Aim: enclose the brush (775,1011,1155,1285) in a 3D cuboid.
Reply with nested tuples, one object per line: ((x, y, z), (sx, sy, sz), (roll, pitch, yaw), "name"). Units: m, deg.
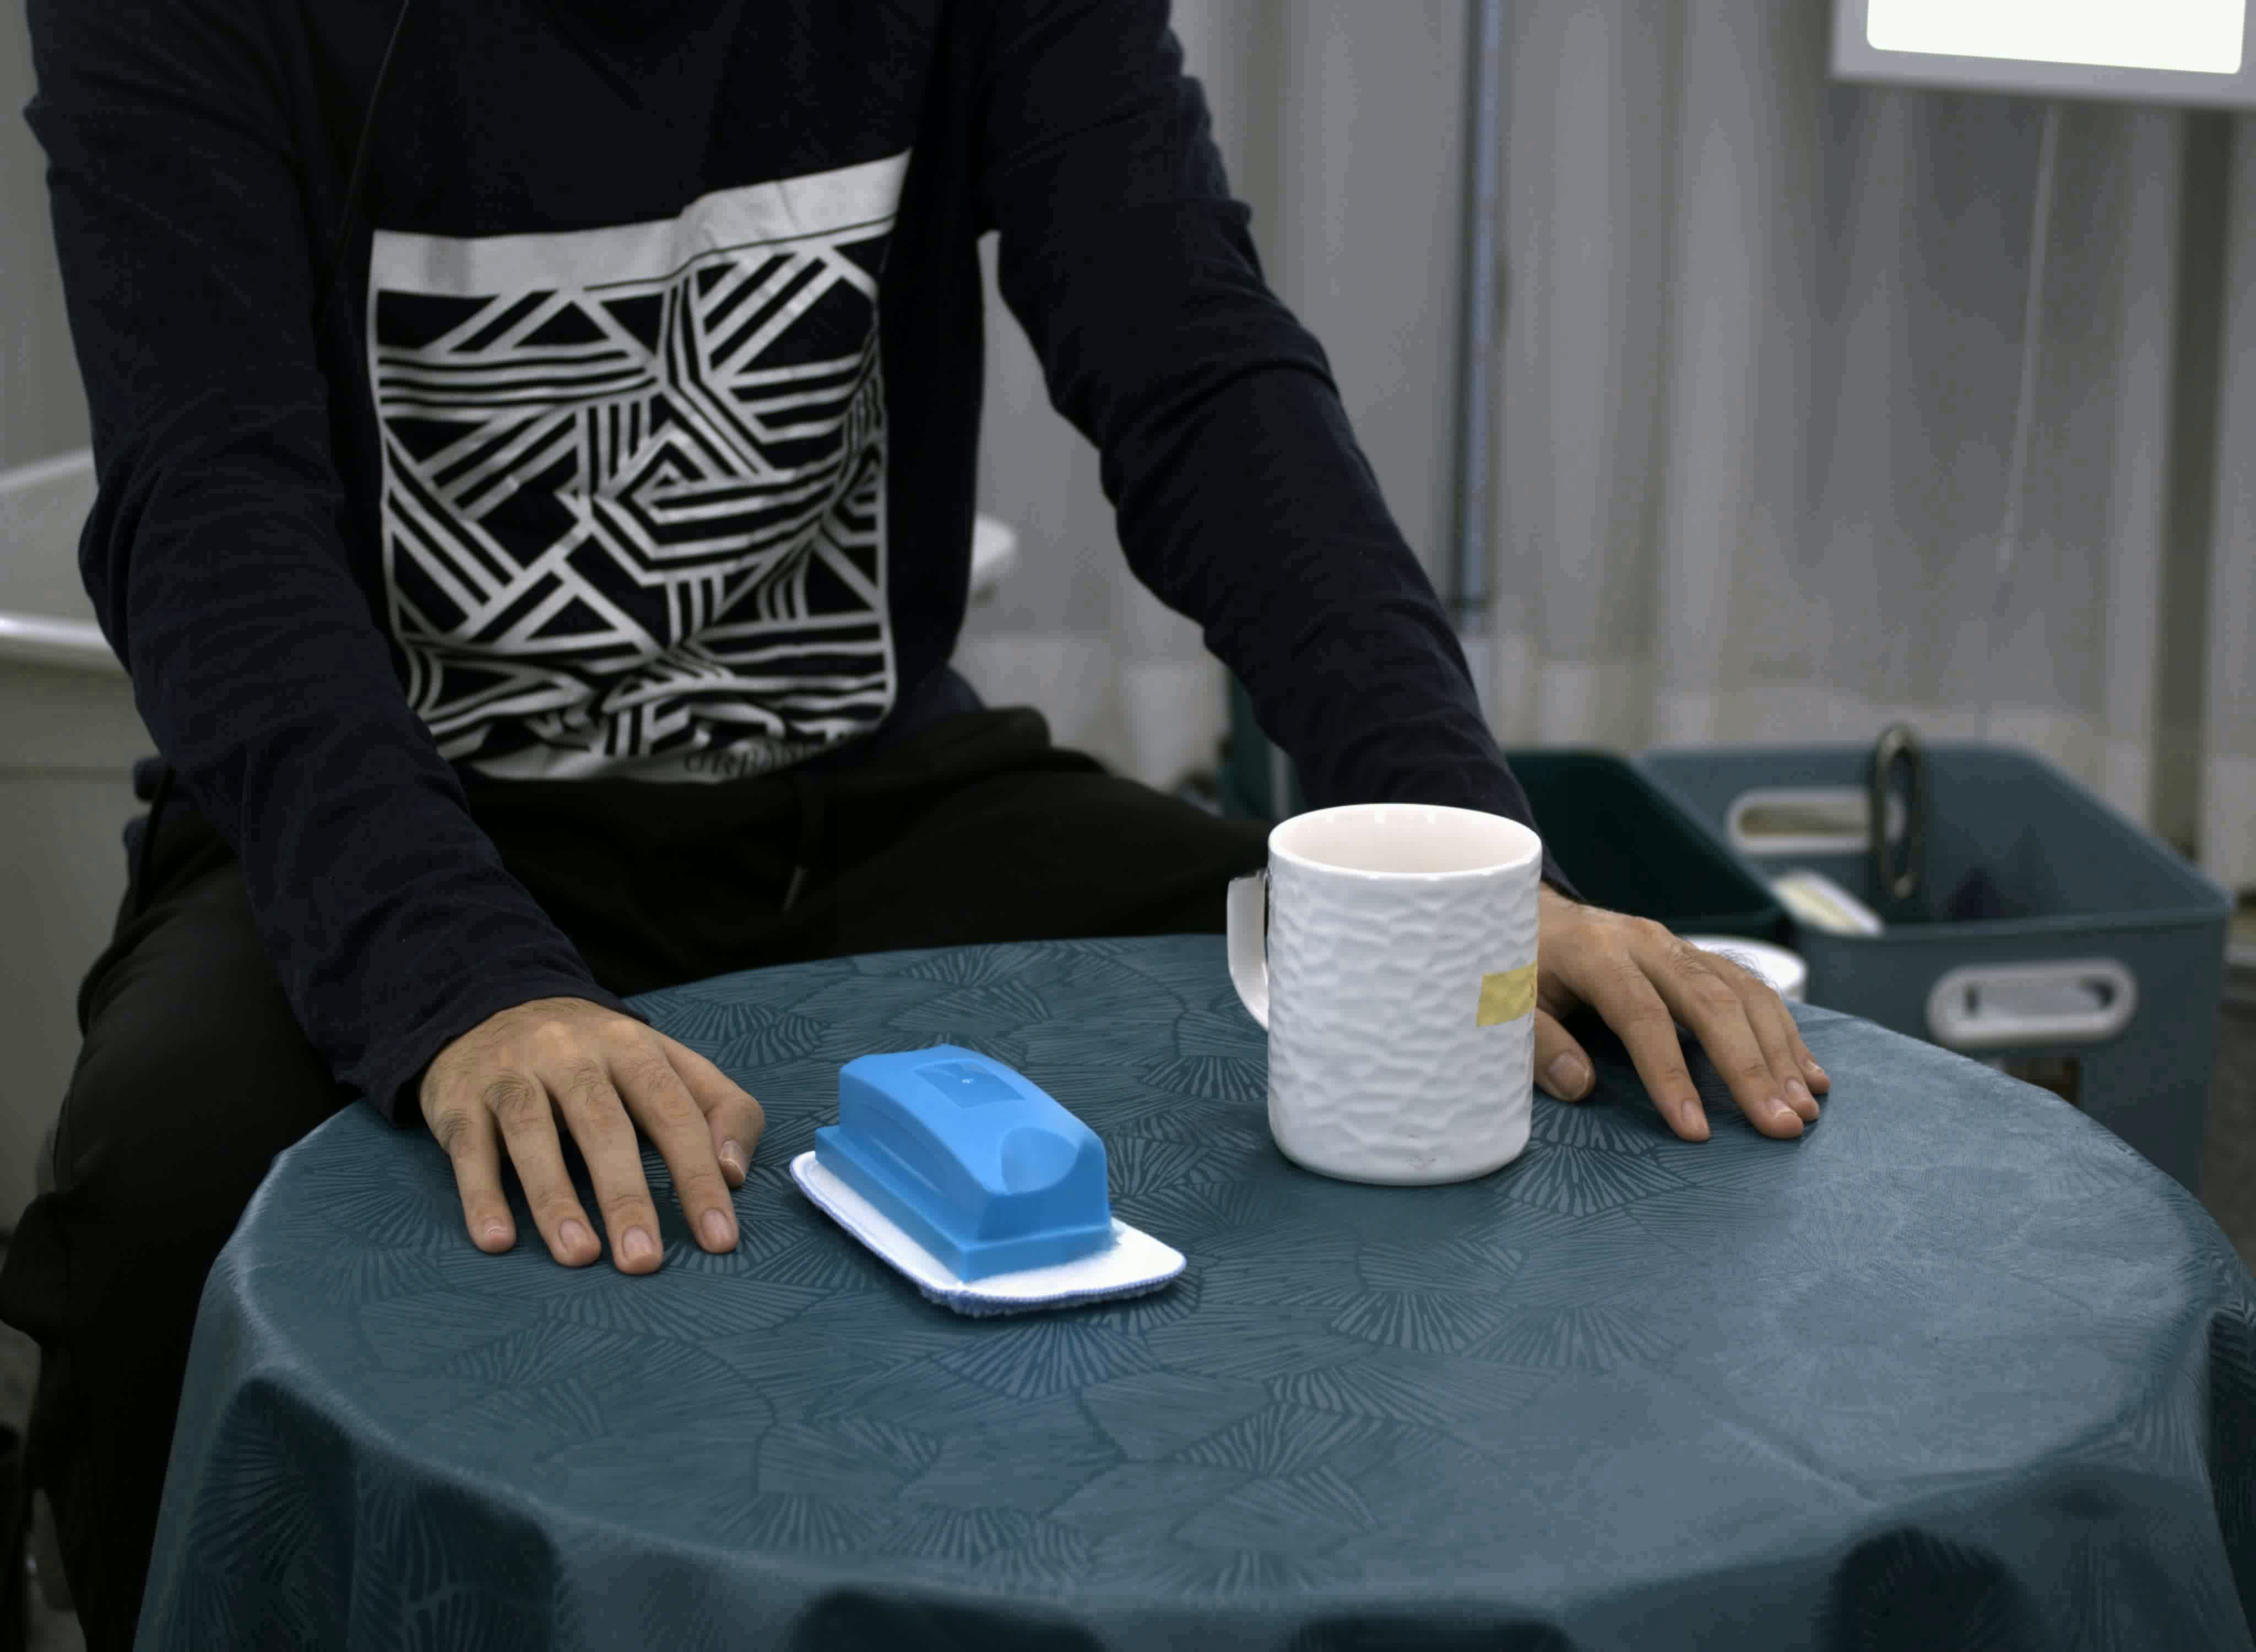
((-0.048, 0.094, 1.577), (0.084, 0.056, 0.142), (-3, 18, -23), "brush")

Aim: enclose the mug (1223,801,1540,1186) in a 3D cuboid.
((0.075, 0.049, 1.664), (0.085, 0.103, 0.116), (-16, 23, -42), "mug")
